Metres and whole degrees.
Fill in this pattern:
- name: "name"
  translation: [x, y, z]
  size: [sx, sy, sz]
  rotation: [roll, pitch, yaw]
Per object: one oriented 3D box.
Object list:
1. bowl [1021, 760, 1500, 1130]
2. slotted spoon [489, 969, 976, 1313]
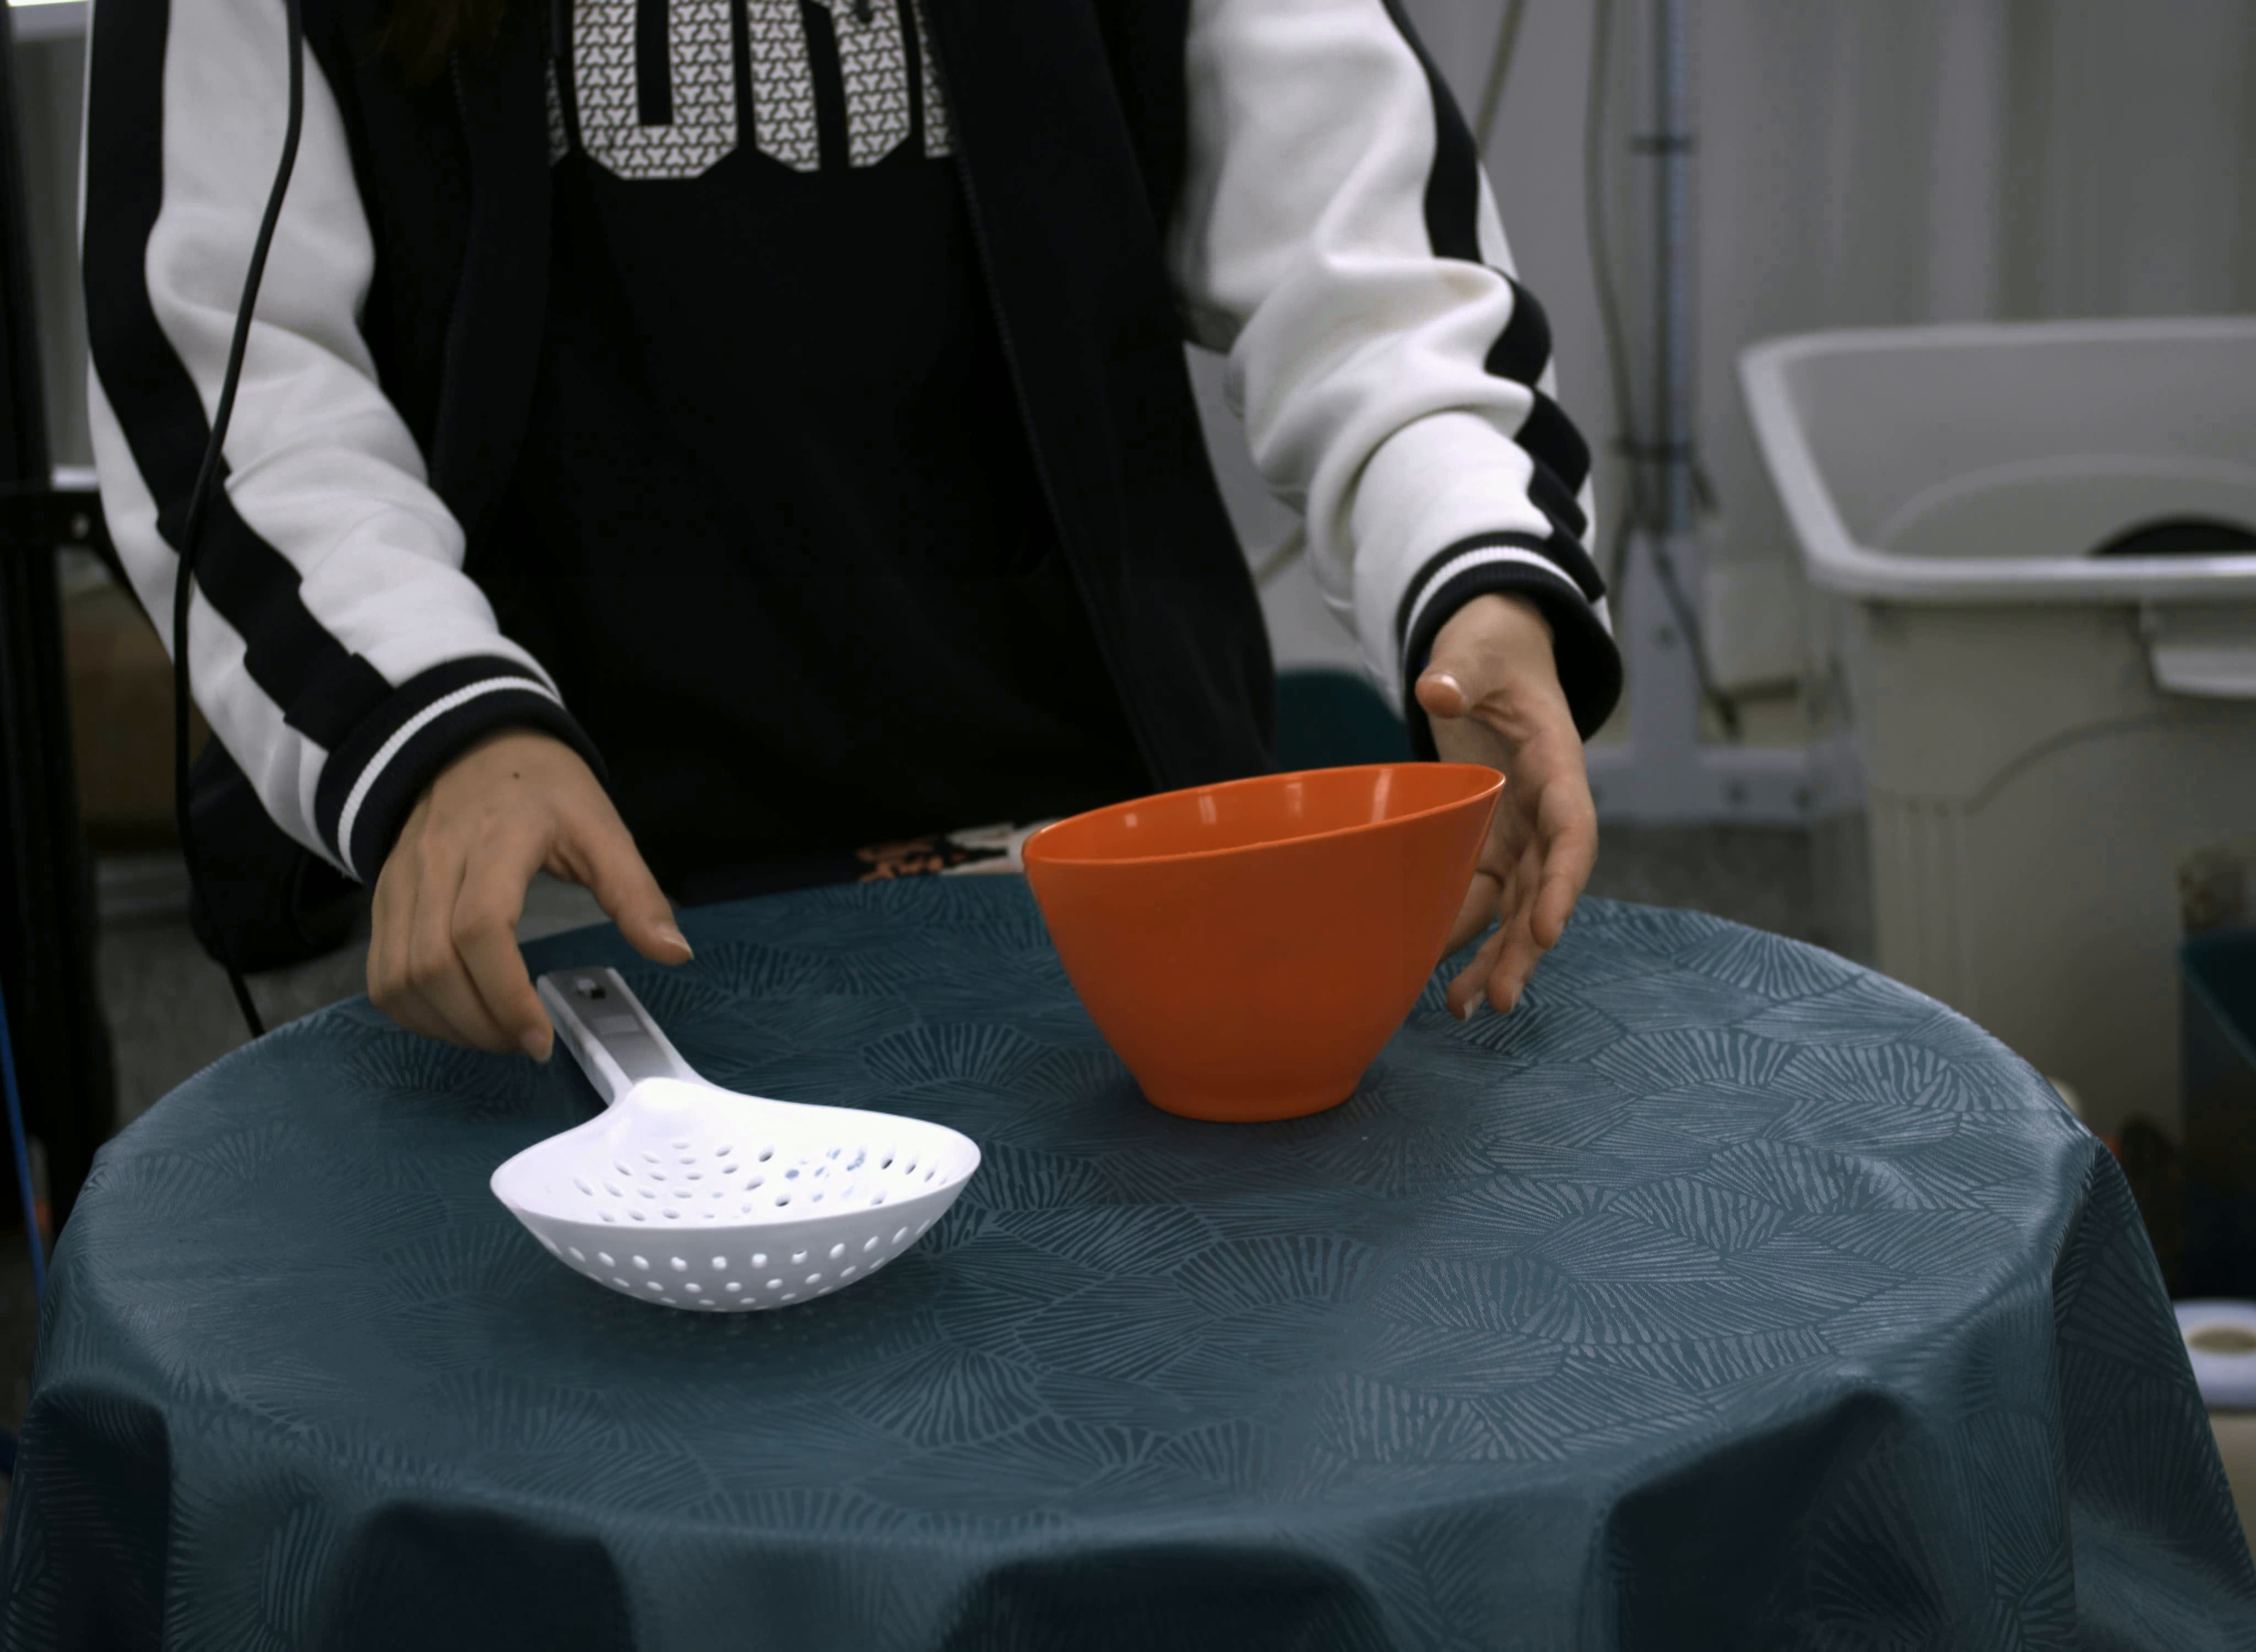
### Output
- name: "bowl"
  translation: [0.042, 0.036, 1.622]
  size: [0.147, 0.104, 0.149]
  rotation: [-5, 16, 0]
- name: "slotted spoon"
  translation: [-0.137, 0.084, 1.583]
  size: [0.134, 0.046, 0.354]
  rotation: [-5, 15, -13]
